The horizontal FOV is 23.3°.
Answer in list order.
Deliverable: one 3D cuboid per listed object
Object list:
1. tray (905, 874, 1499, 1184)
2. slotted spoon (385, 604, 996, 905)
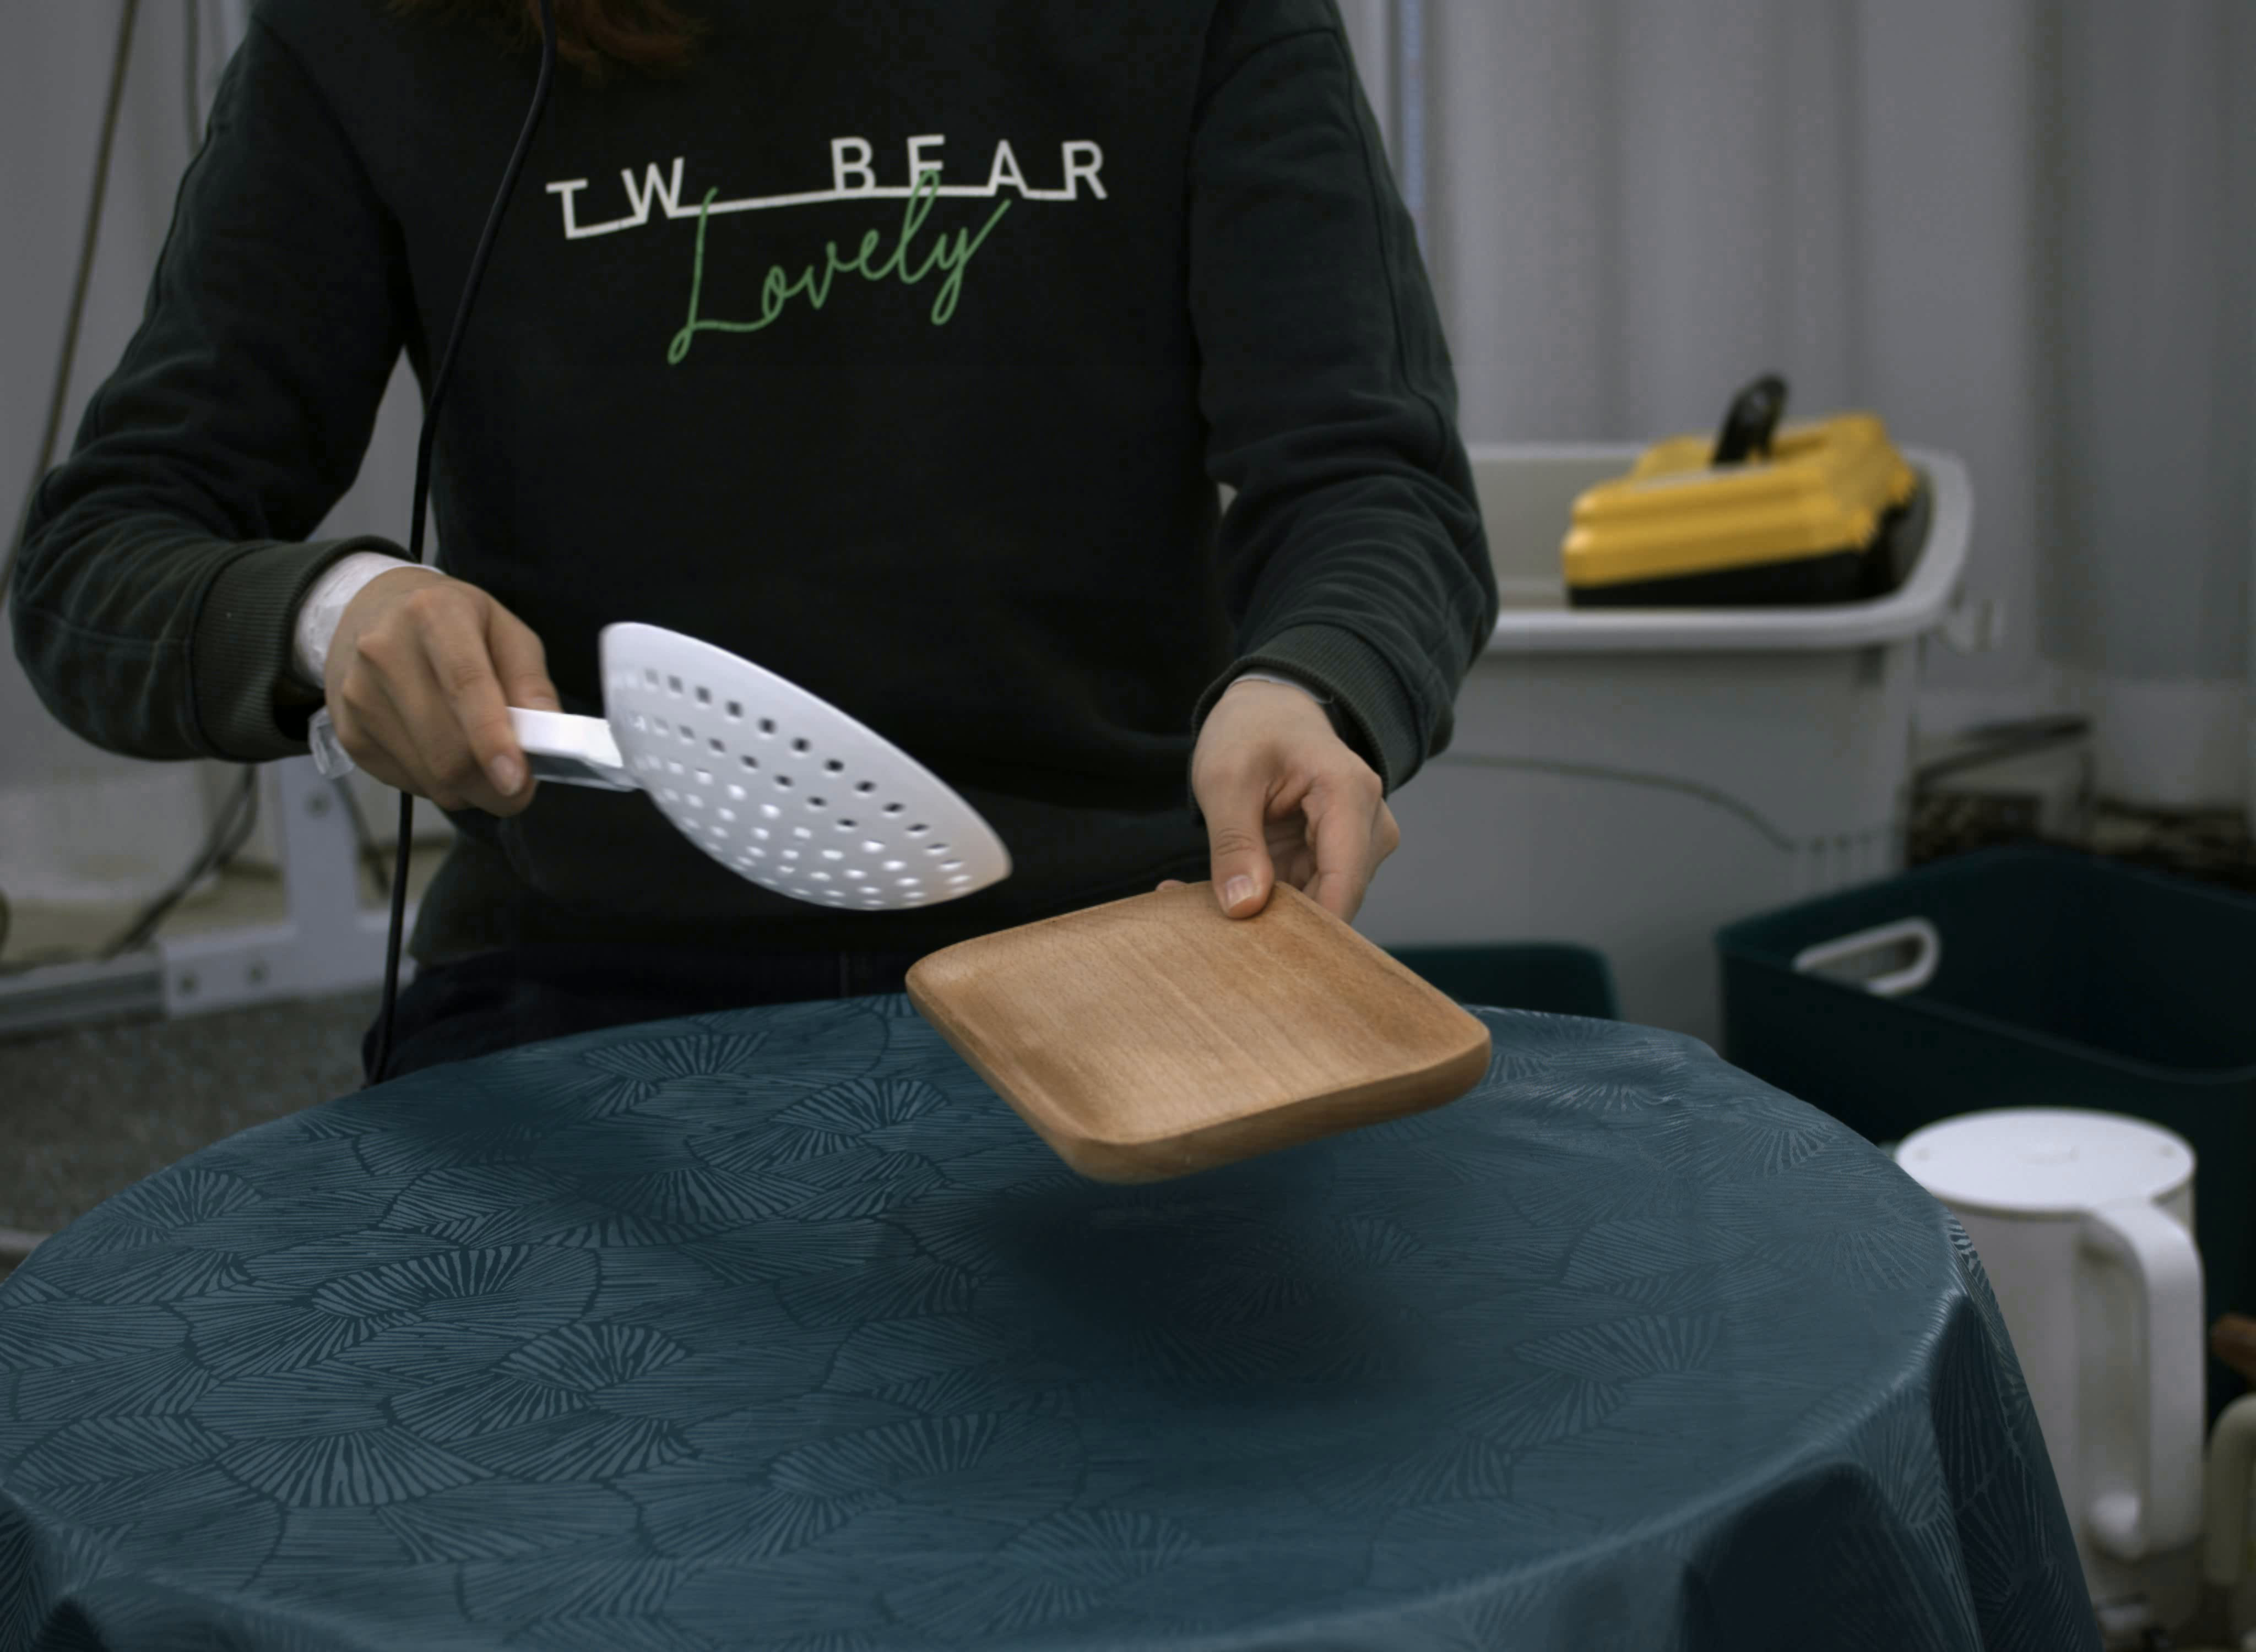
[{"bbox_3d":[0.018,0.057,1.613,0.130,0.023,0.252,-12,13,-12],"label":"tray"},{"bbox_3d":[-0.153,-0.023,1.684,0.134,0.046,0.351,40,-11,-25],"label":"slotted spoon"}]
